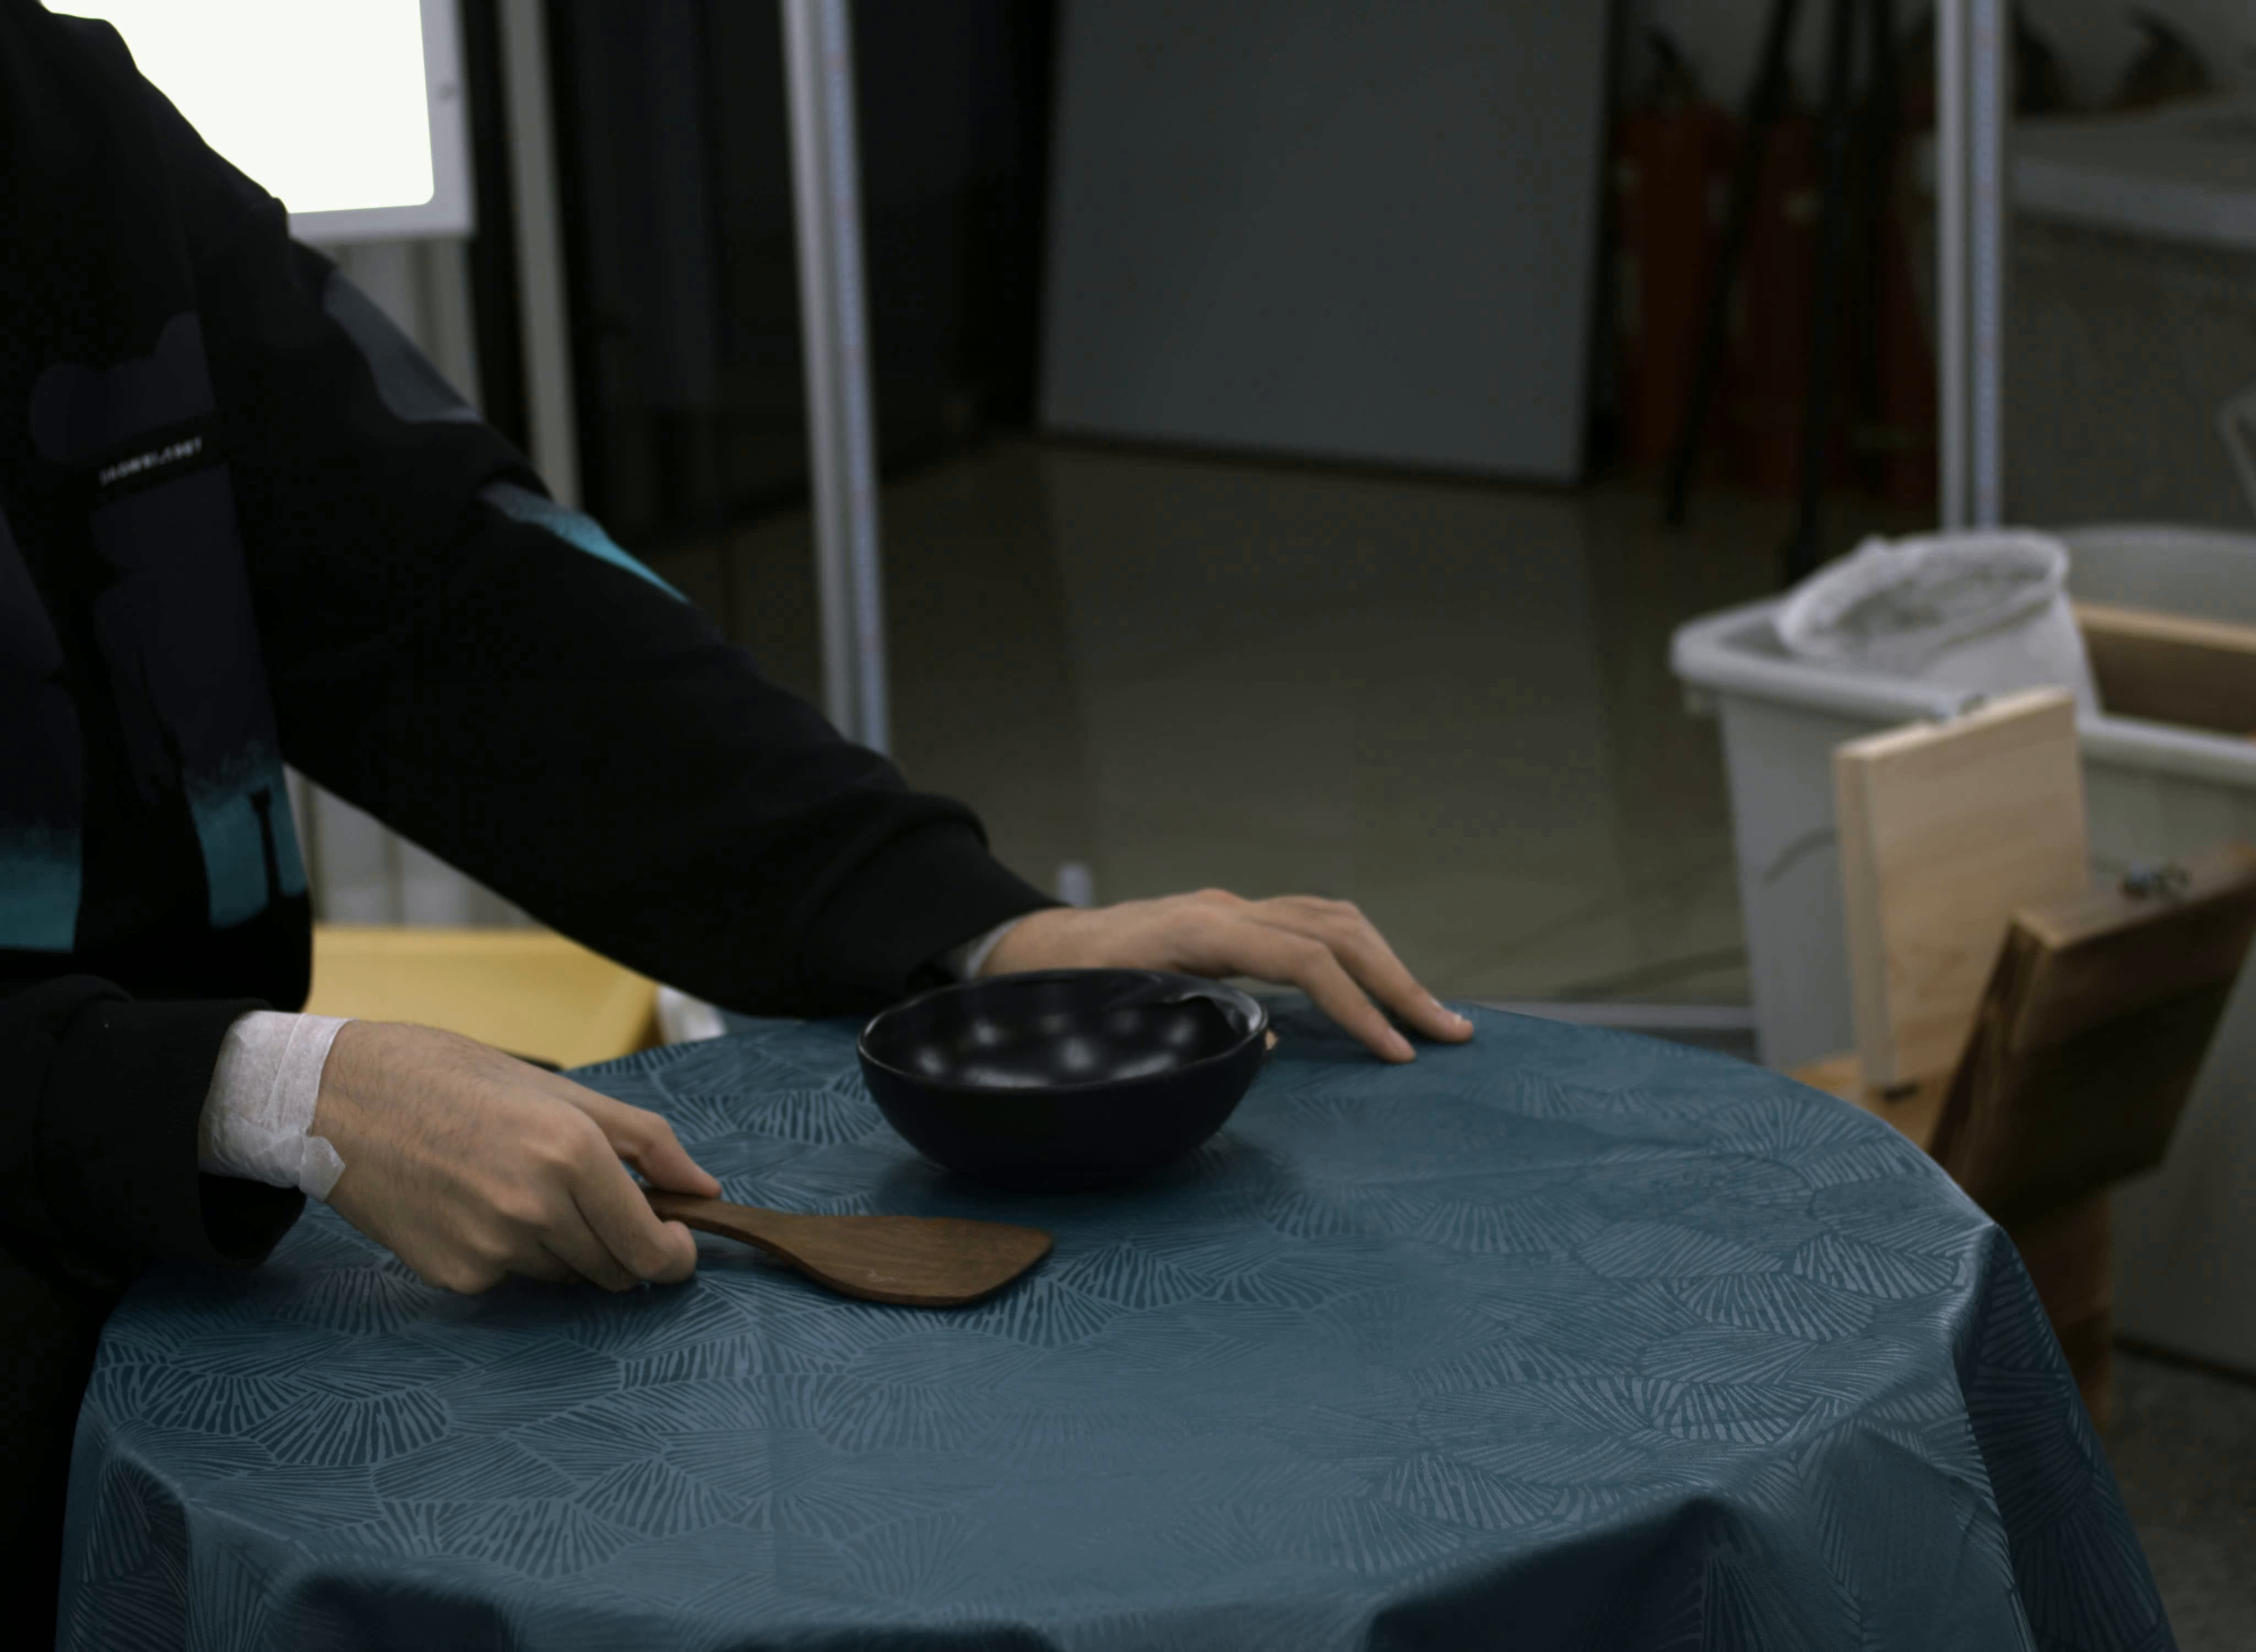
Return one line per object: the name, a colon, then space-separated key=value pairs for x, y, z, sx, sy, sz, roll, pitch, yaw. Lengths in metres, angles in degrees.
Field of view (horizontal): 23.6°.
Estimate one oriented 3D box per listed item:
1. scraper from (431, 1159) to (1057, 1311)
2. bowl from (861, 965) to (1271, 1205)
scraper: x=-0.126 y=0.128 z=1.730 sx=0.211 sy=0.011 sz=0.075 roll=9 pitch=16 yaw=21
bowl: x=-0.018 y=0.091 z=1.800 sx=0.138 sy=0.050 sz=0.140 roll=-6 pitch=16 yaw=1
